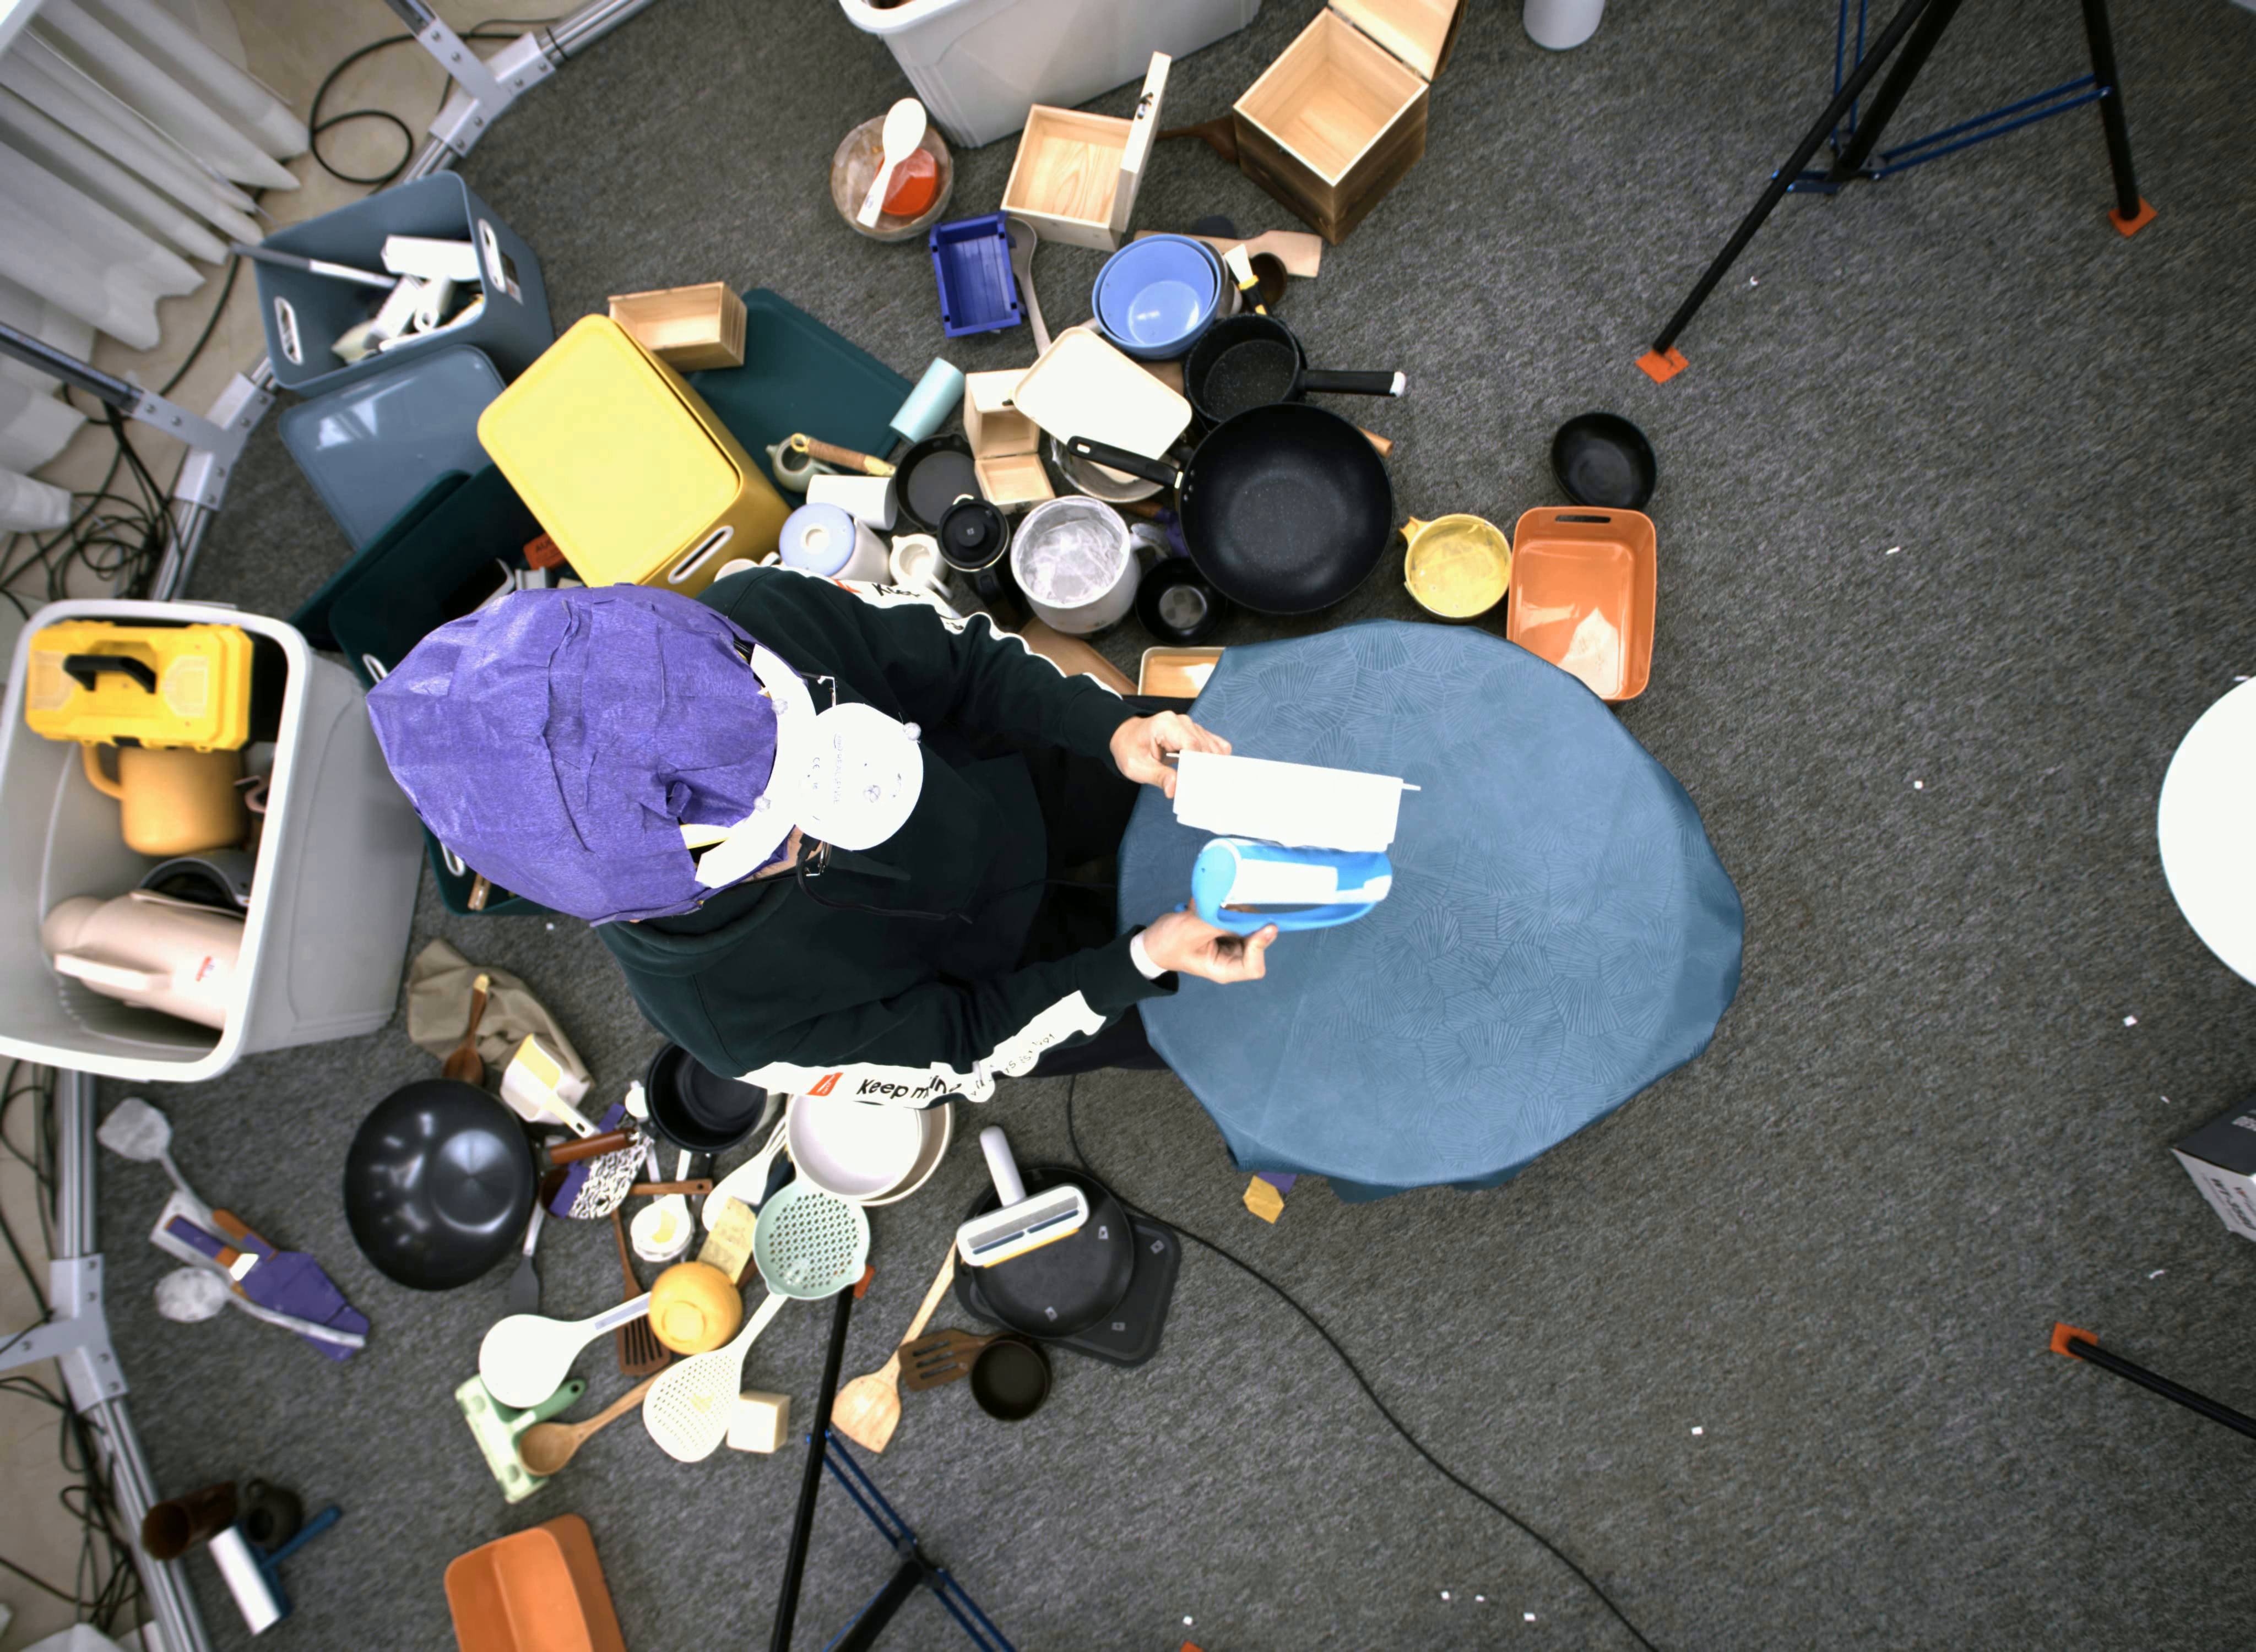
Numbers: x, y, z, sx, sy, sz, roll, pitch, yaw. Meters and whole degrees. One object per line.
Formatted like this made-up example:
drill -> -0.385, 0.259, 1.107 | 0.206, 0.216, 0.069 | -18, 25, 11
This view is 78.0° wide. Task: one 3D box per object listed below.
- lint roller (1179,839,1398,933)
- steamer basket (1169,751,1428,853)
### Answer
lint roller -> 0.114, 0.063, 1.219 | 0.184, 0.227, 0.067 | -36, 64, 47
steamer basket -> 0.141, -0.020, 1.200 | 0.231, 0.201, 0.069 | 9, 93, 29
